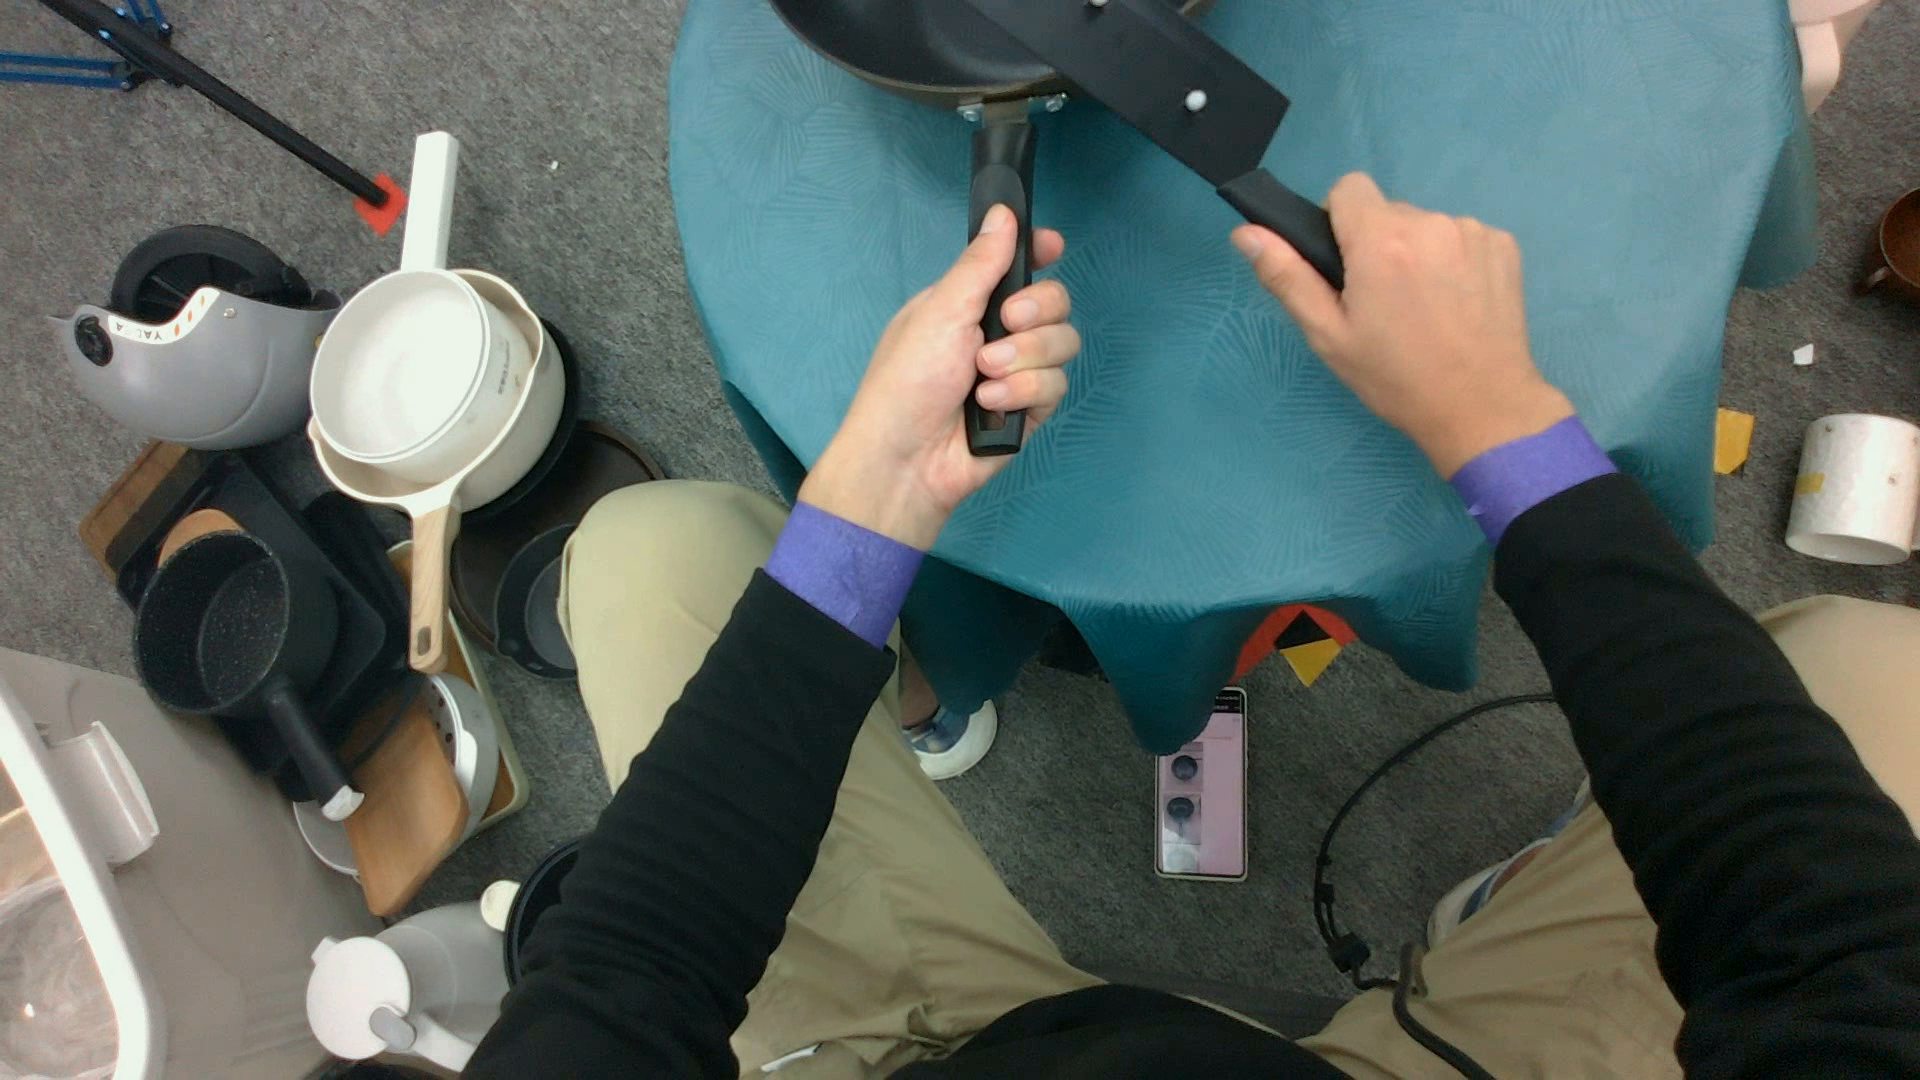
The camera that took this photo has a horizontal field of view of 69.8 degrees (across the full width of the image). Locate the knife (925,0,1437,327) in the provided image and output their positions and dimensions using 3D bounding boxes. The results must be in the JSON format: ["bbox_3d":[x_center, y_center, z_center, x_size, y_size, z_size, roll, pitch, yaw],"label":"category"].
[{"bbox_3d":[0.095,-0.195,0.623,0.302,0.021,0.081,36,66,-7],"label":"knife"}]

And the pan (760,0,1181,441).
[{"bbox_3d":[0.018,-0.256,0.707,0.288,0.087,0.464,-3,71,13],"label":"pan"}]
